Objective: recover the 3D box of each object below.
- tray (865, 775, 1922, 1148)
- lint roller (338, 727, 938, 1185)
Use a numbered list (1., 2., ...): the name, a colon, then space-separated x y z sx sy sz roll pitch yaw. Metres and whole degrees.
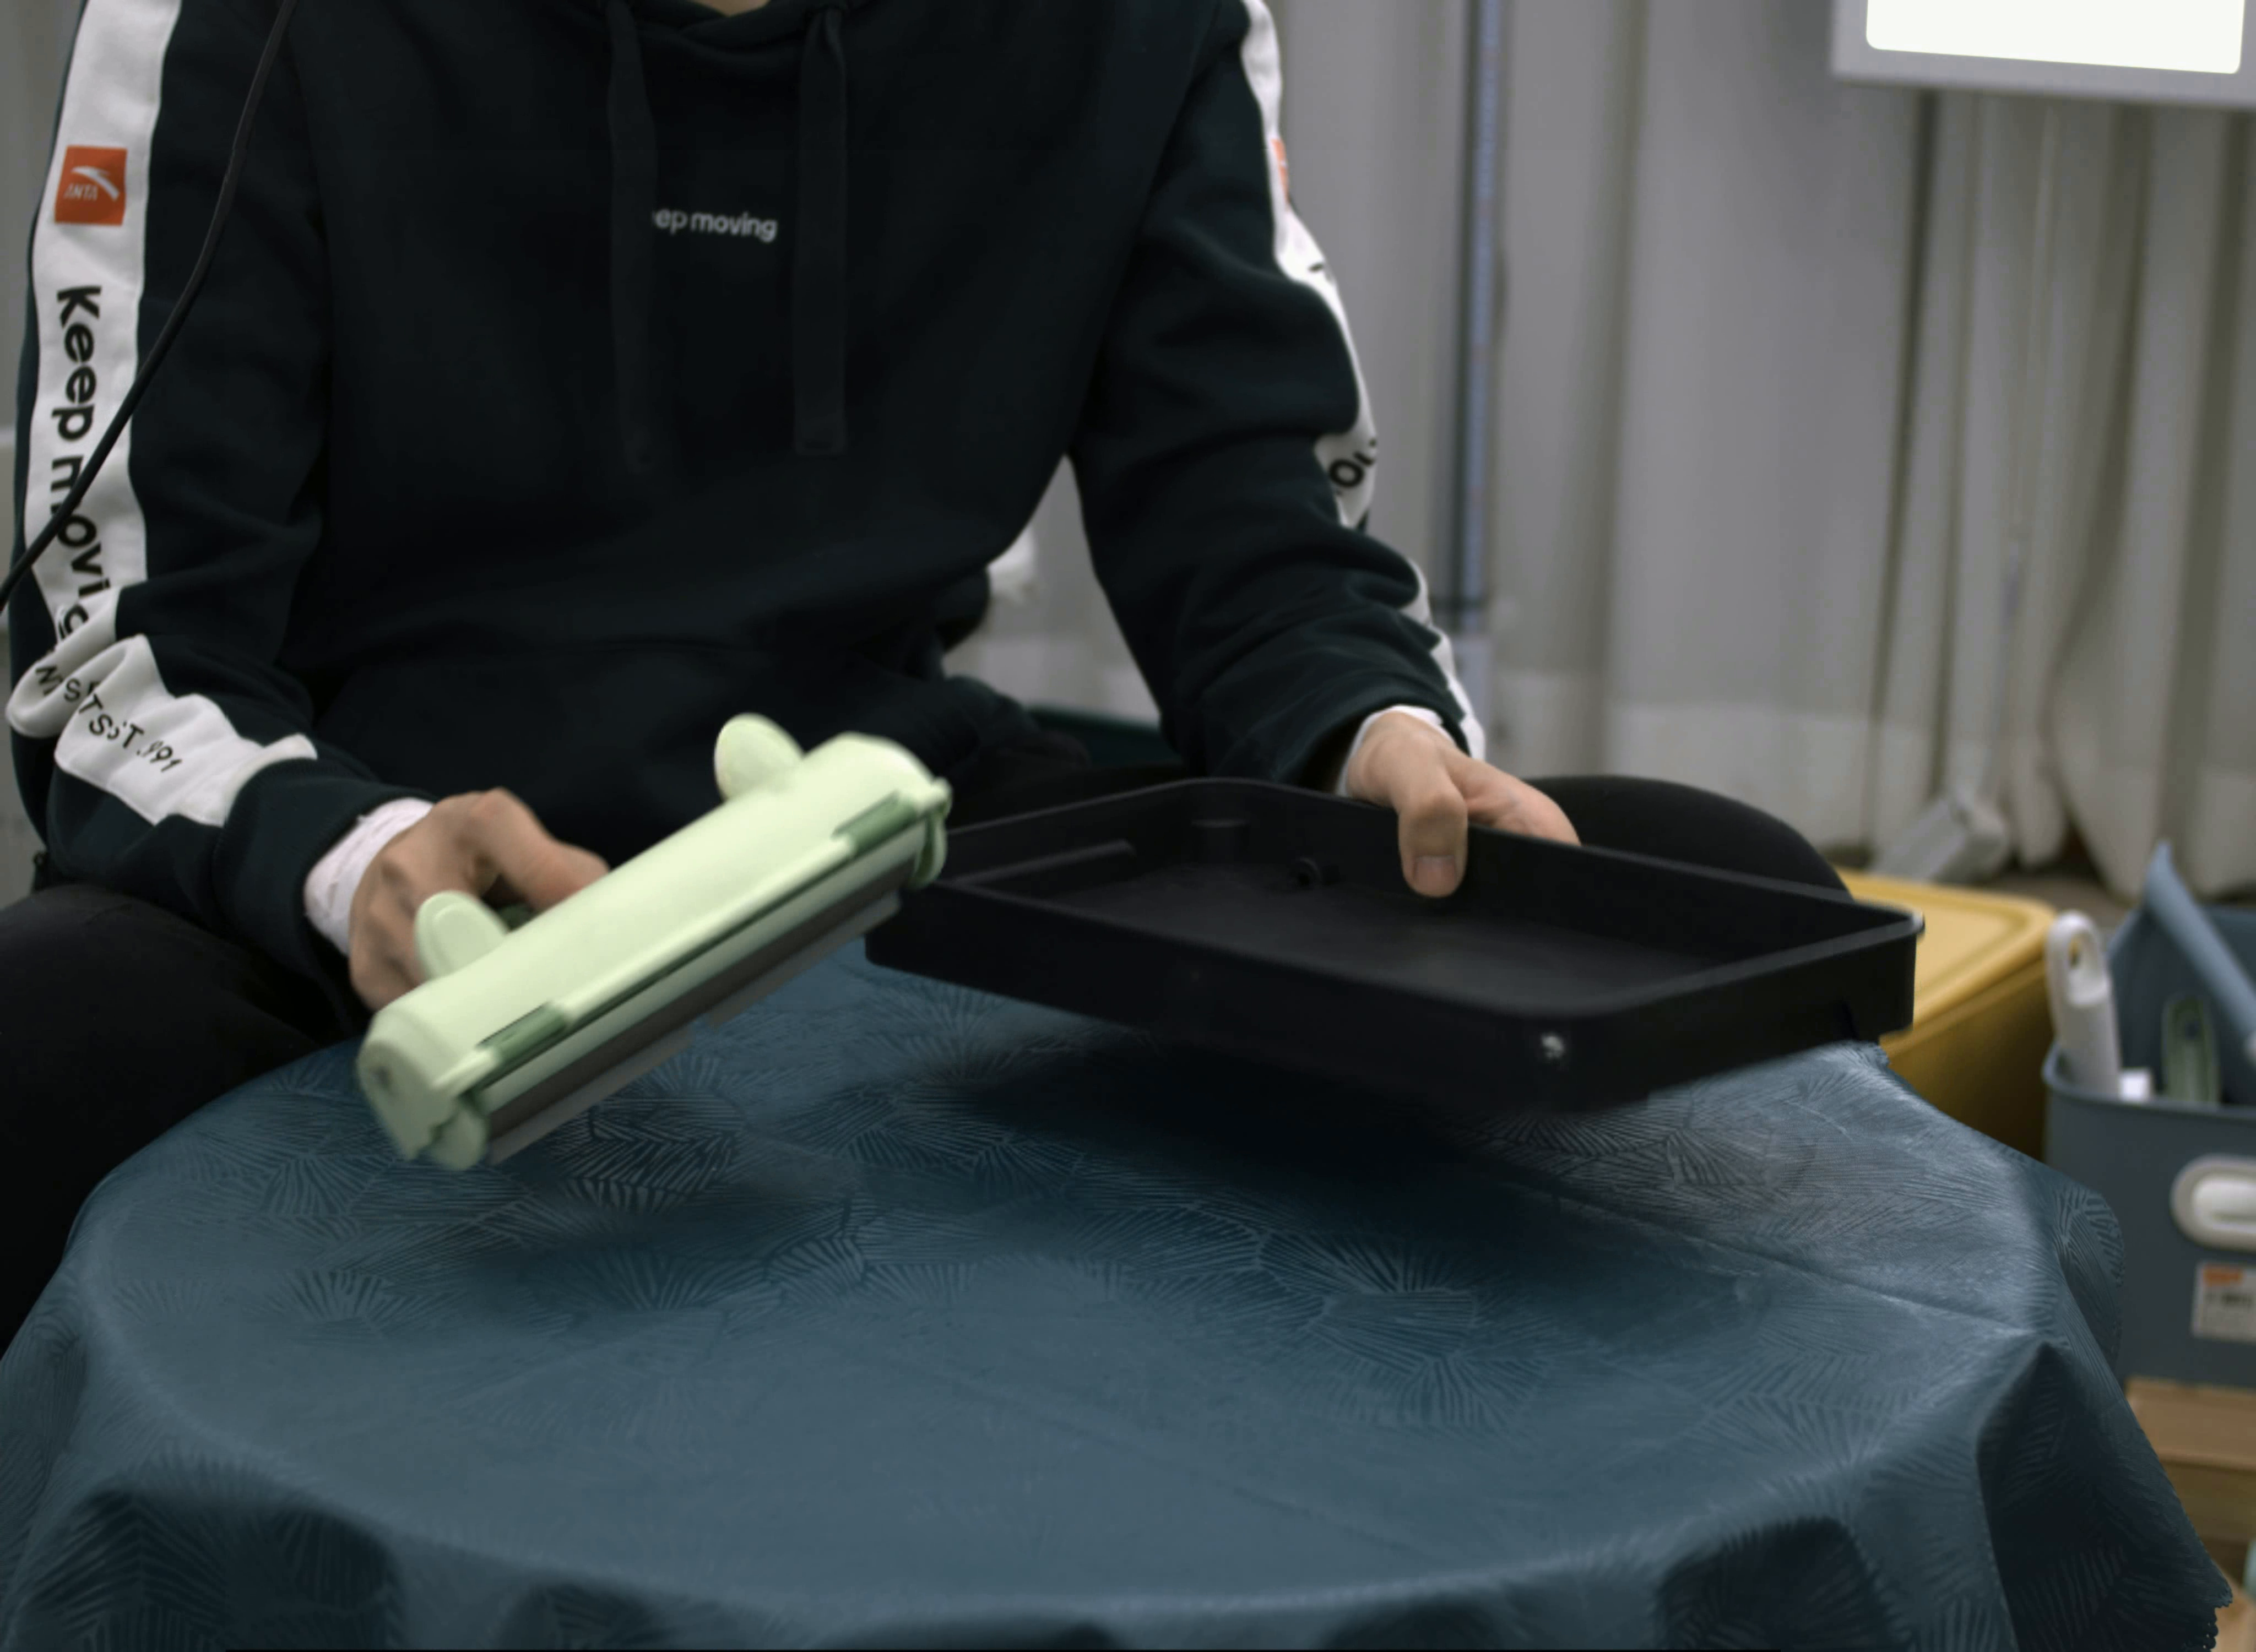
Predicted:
1. tray: 0.077 0.038 1.659 0.185 0.037 0.314 -12 18 -42
2. lint roller: -0.180 0.028 1.622 0.199 0.083 0.181 -31 24 -30
